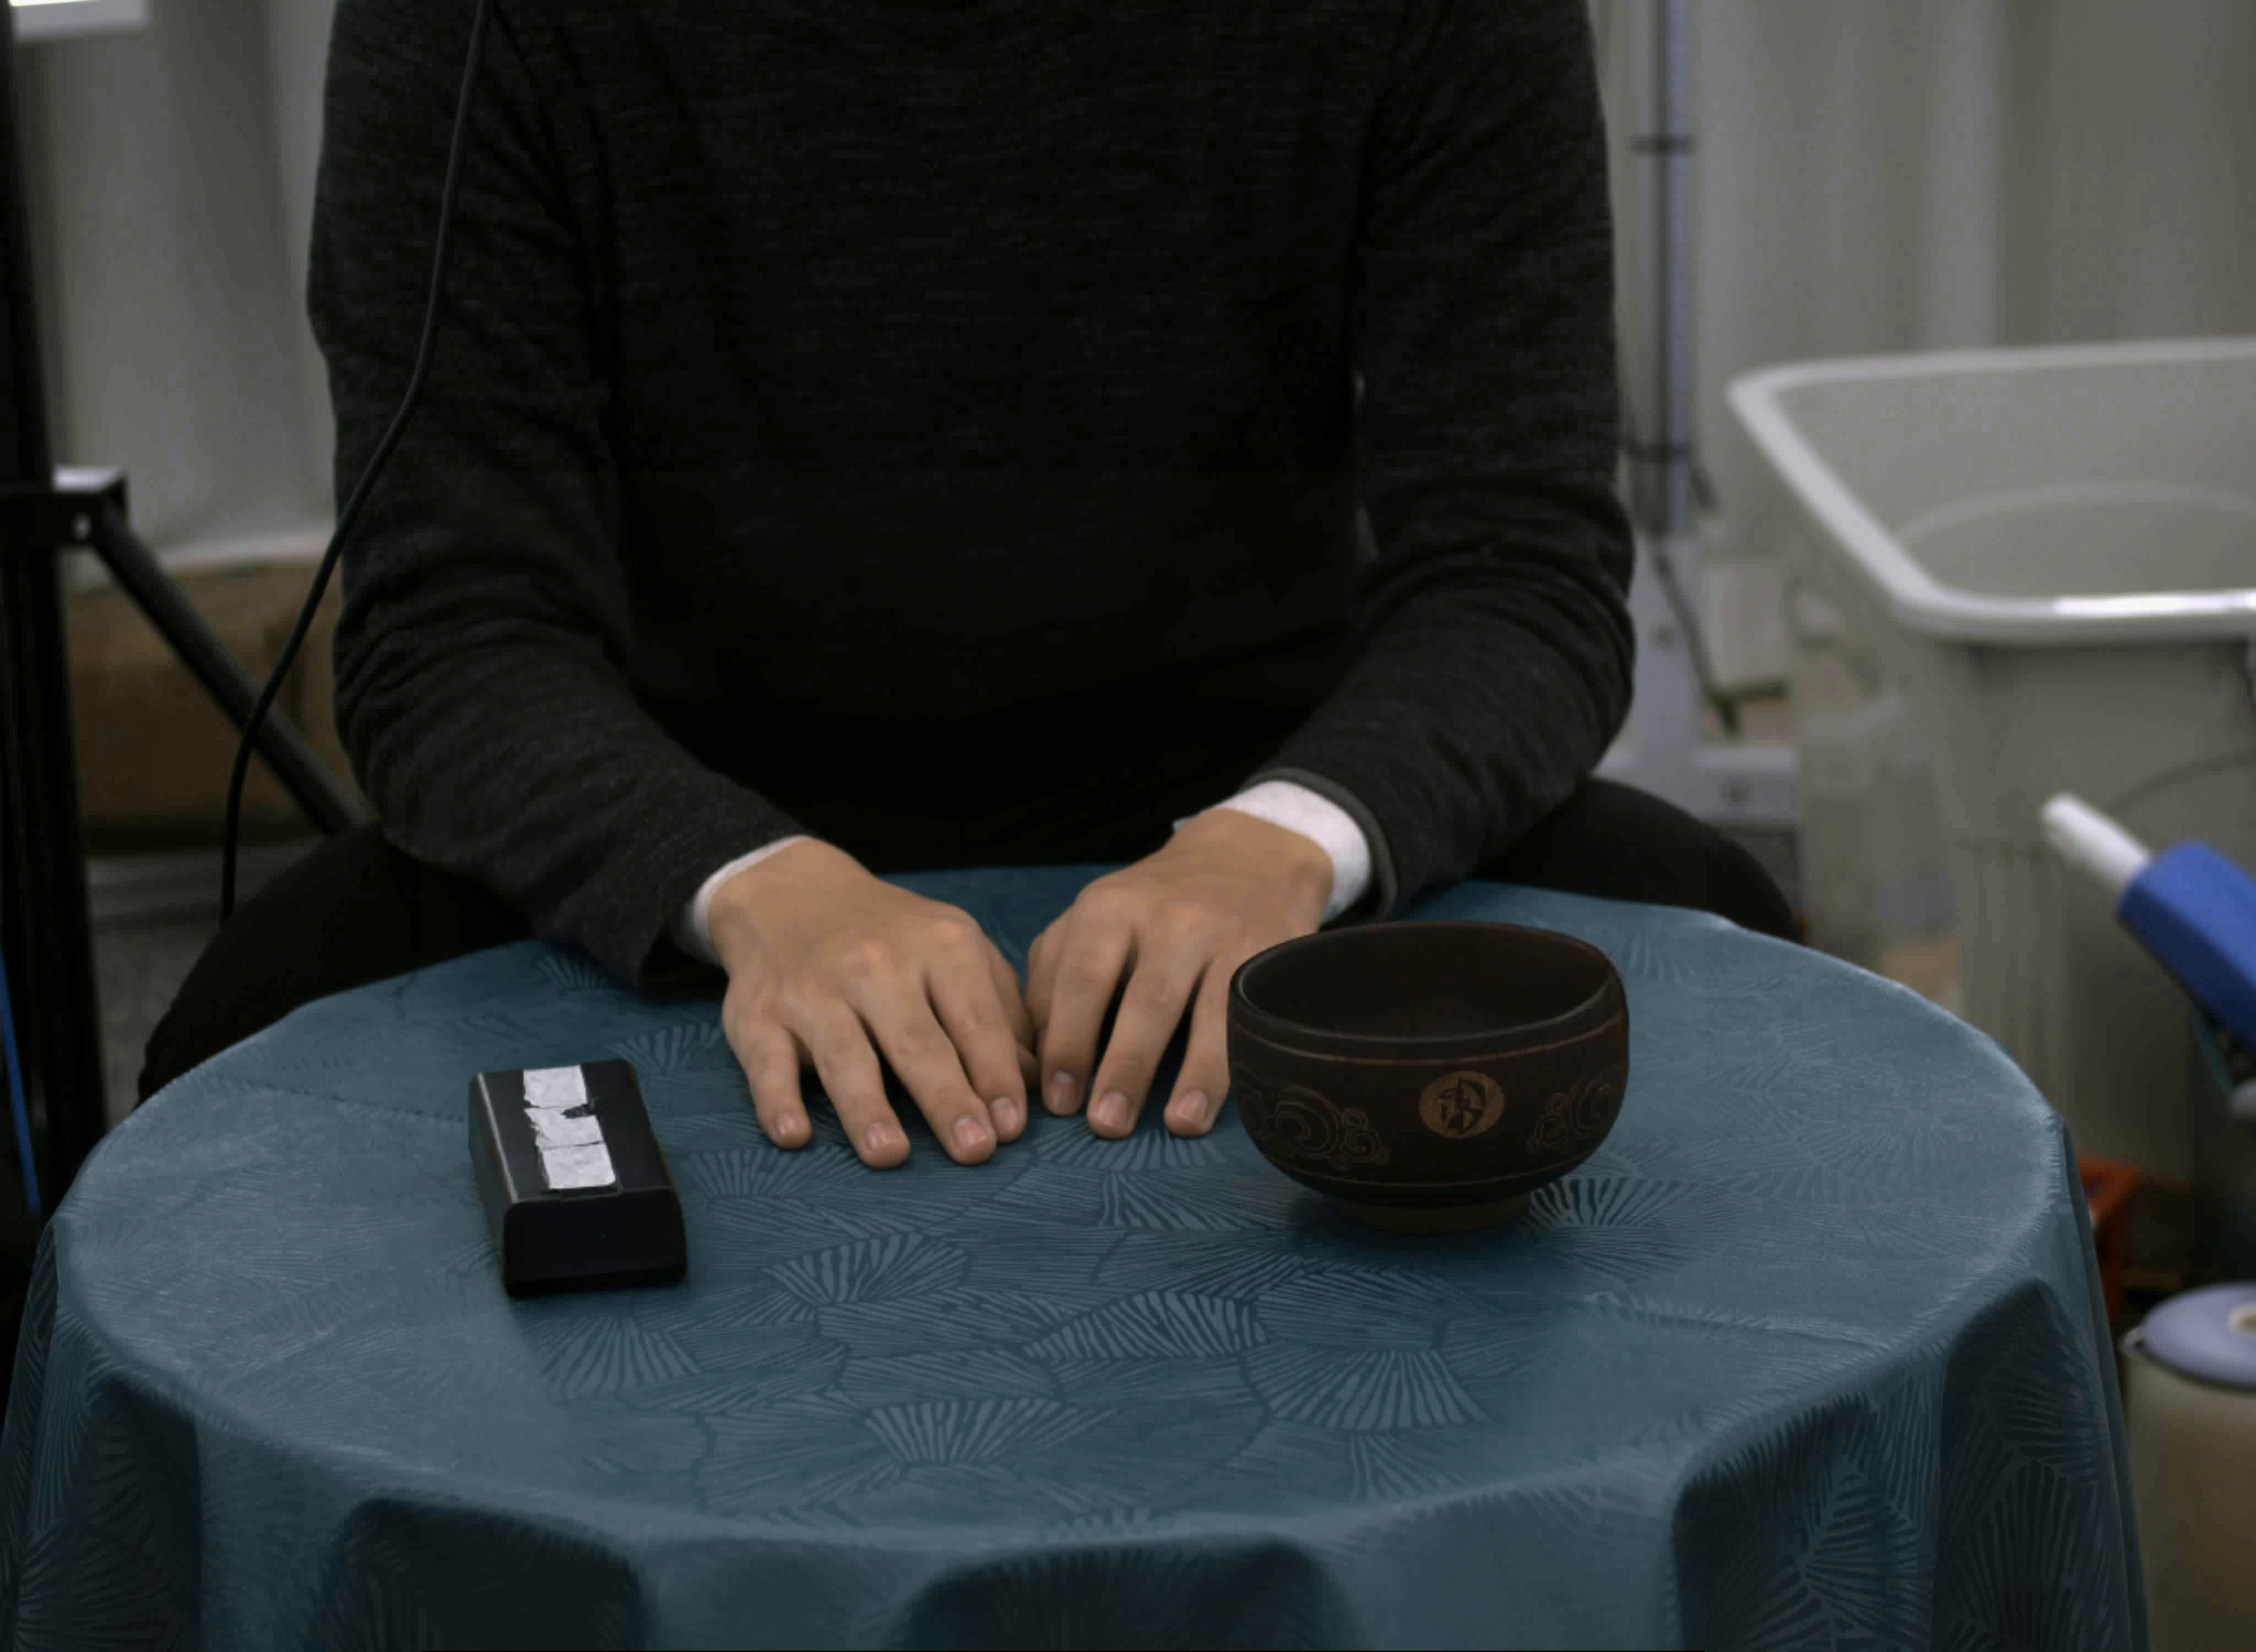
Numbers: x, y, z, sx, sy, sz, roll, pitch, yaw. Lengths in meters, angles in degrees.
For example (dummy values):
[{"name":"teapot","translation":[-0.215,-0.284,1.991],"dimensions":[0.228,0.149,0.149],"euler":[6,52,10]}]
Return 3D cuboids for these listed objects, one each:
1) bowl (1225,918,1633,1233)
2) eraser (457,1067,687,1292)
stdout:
[{"name":"bowl","translation":[0.087,0.076,1.527],"dimensions":[0.117,0.070,0.118],"euler":[-3,14,-1]},{"name":"eraser","translation":[-0.162,0.102,1.552],"dimensions":[0.053,0.030,0.127],"euler":[-3,15,-12]}]
